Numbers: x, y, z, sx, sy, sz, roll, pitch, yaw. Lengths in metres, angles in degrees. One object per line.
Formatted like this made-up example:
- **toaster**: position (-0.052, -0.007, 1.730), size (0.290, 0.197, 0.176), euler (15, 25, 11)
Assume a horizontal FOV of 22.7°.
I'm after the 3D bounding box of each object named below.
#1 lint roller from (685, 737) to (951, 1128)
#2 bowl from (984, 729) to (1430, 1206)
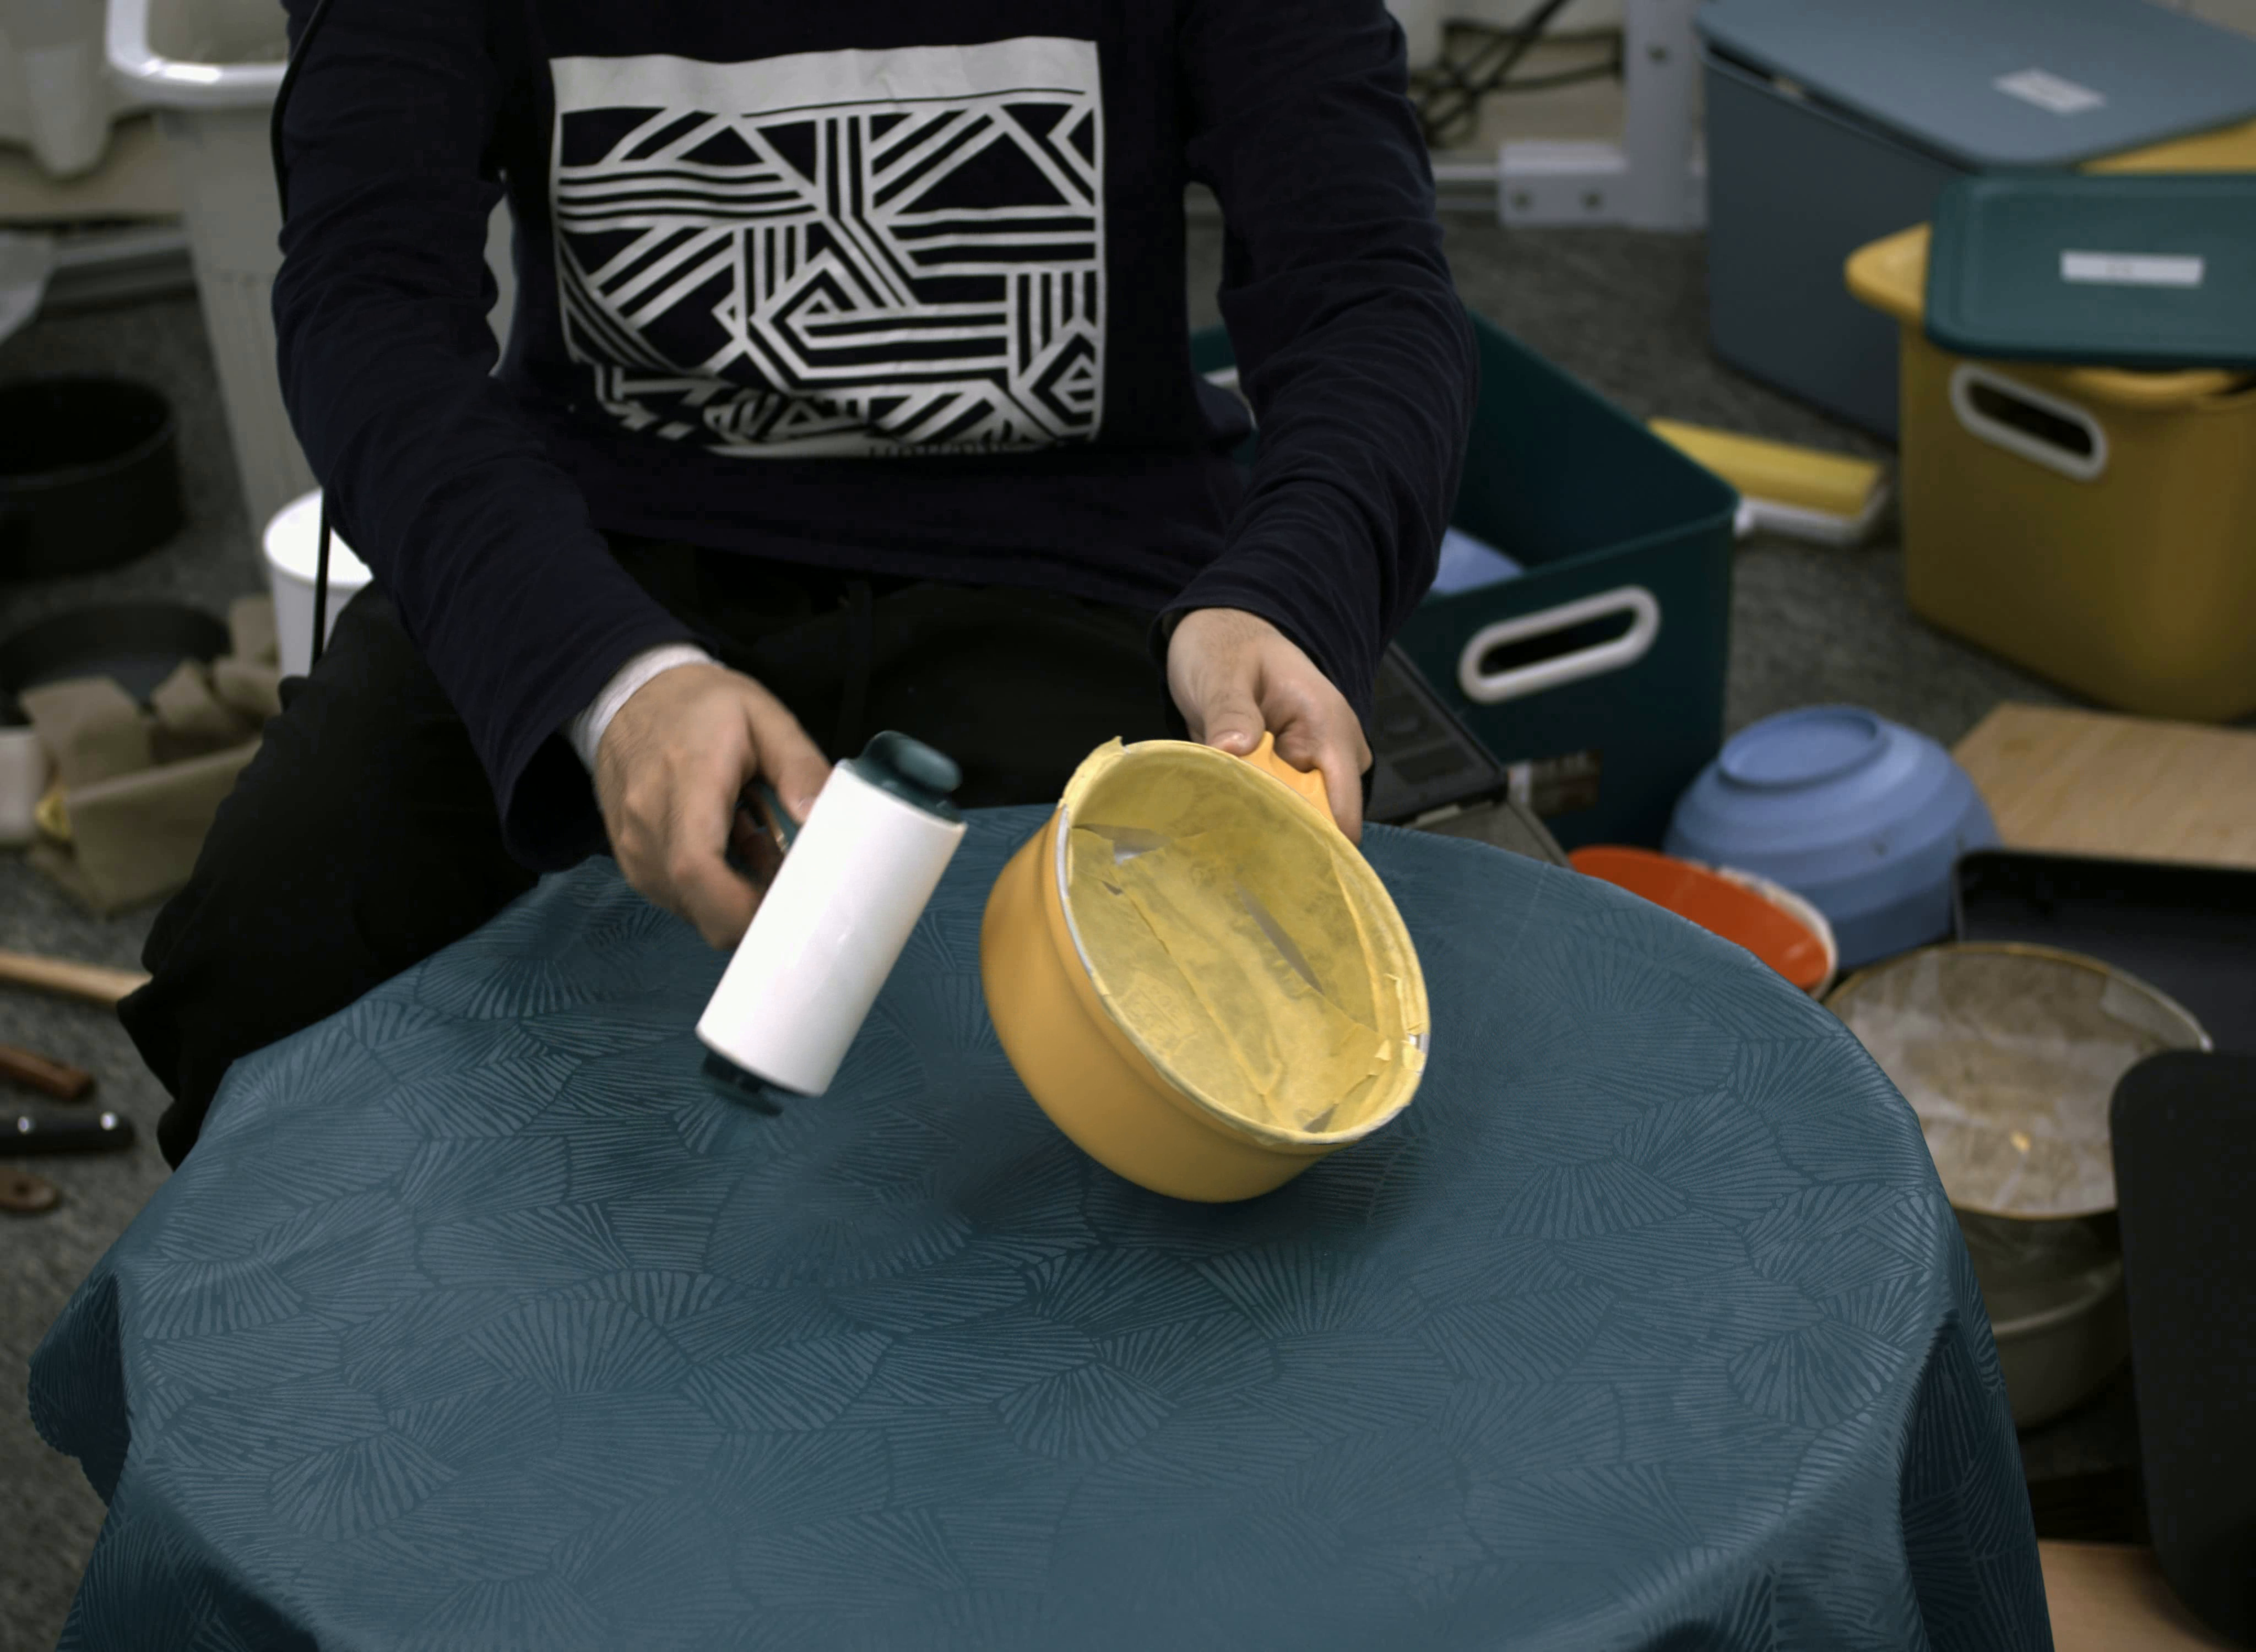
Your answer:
- **lint roller**: position (-0.123, 0.017, 1.872), size (0.048, 0.134, 0.181), euler (26, 4, -26)
- **bowl**: position (0.025, 0.045, 1.865), size (0.152, 0.073, 0.183), euler (31, 41, -19)
